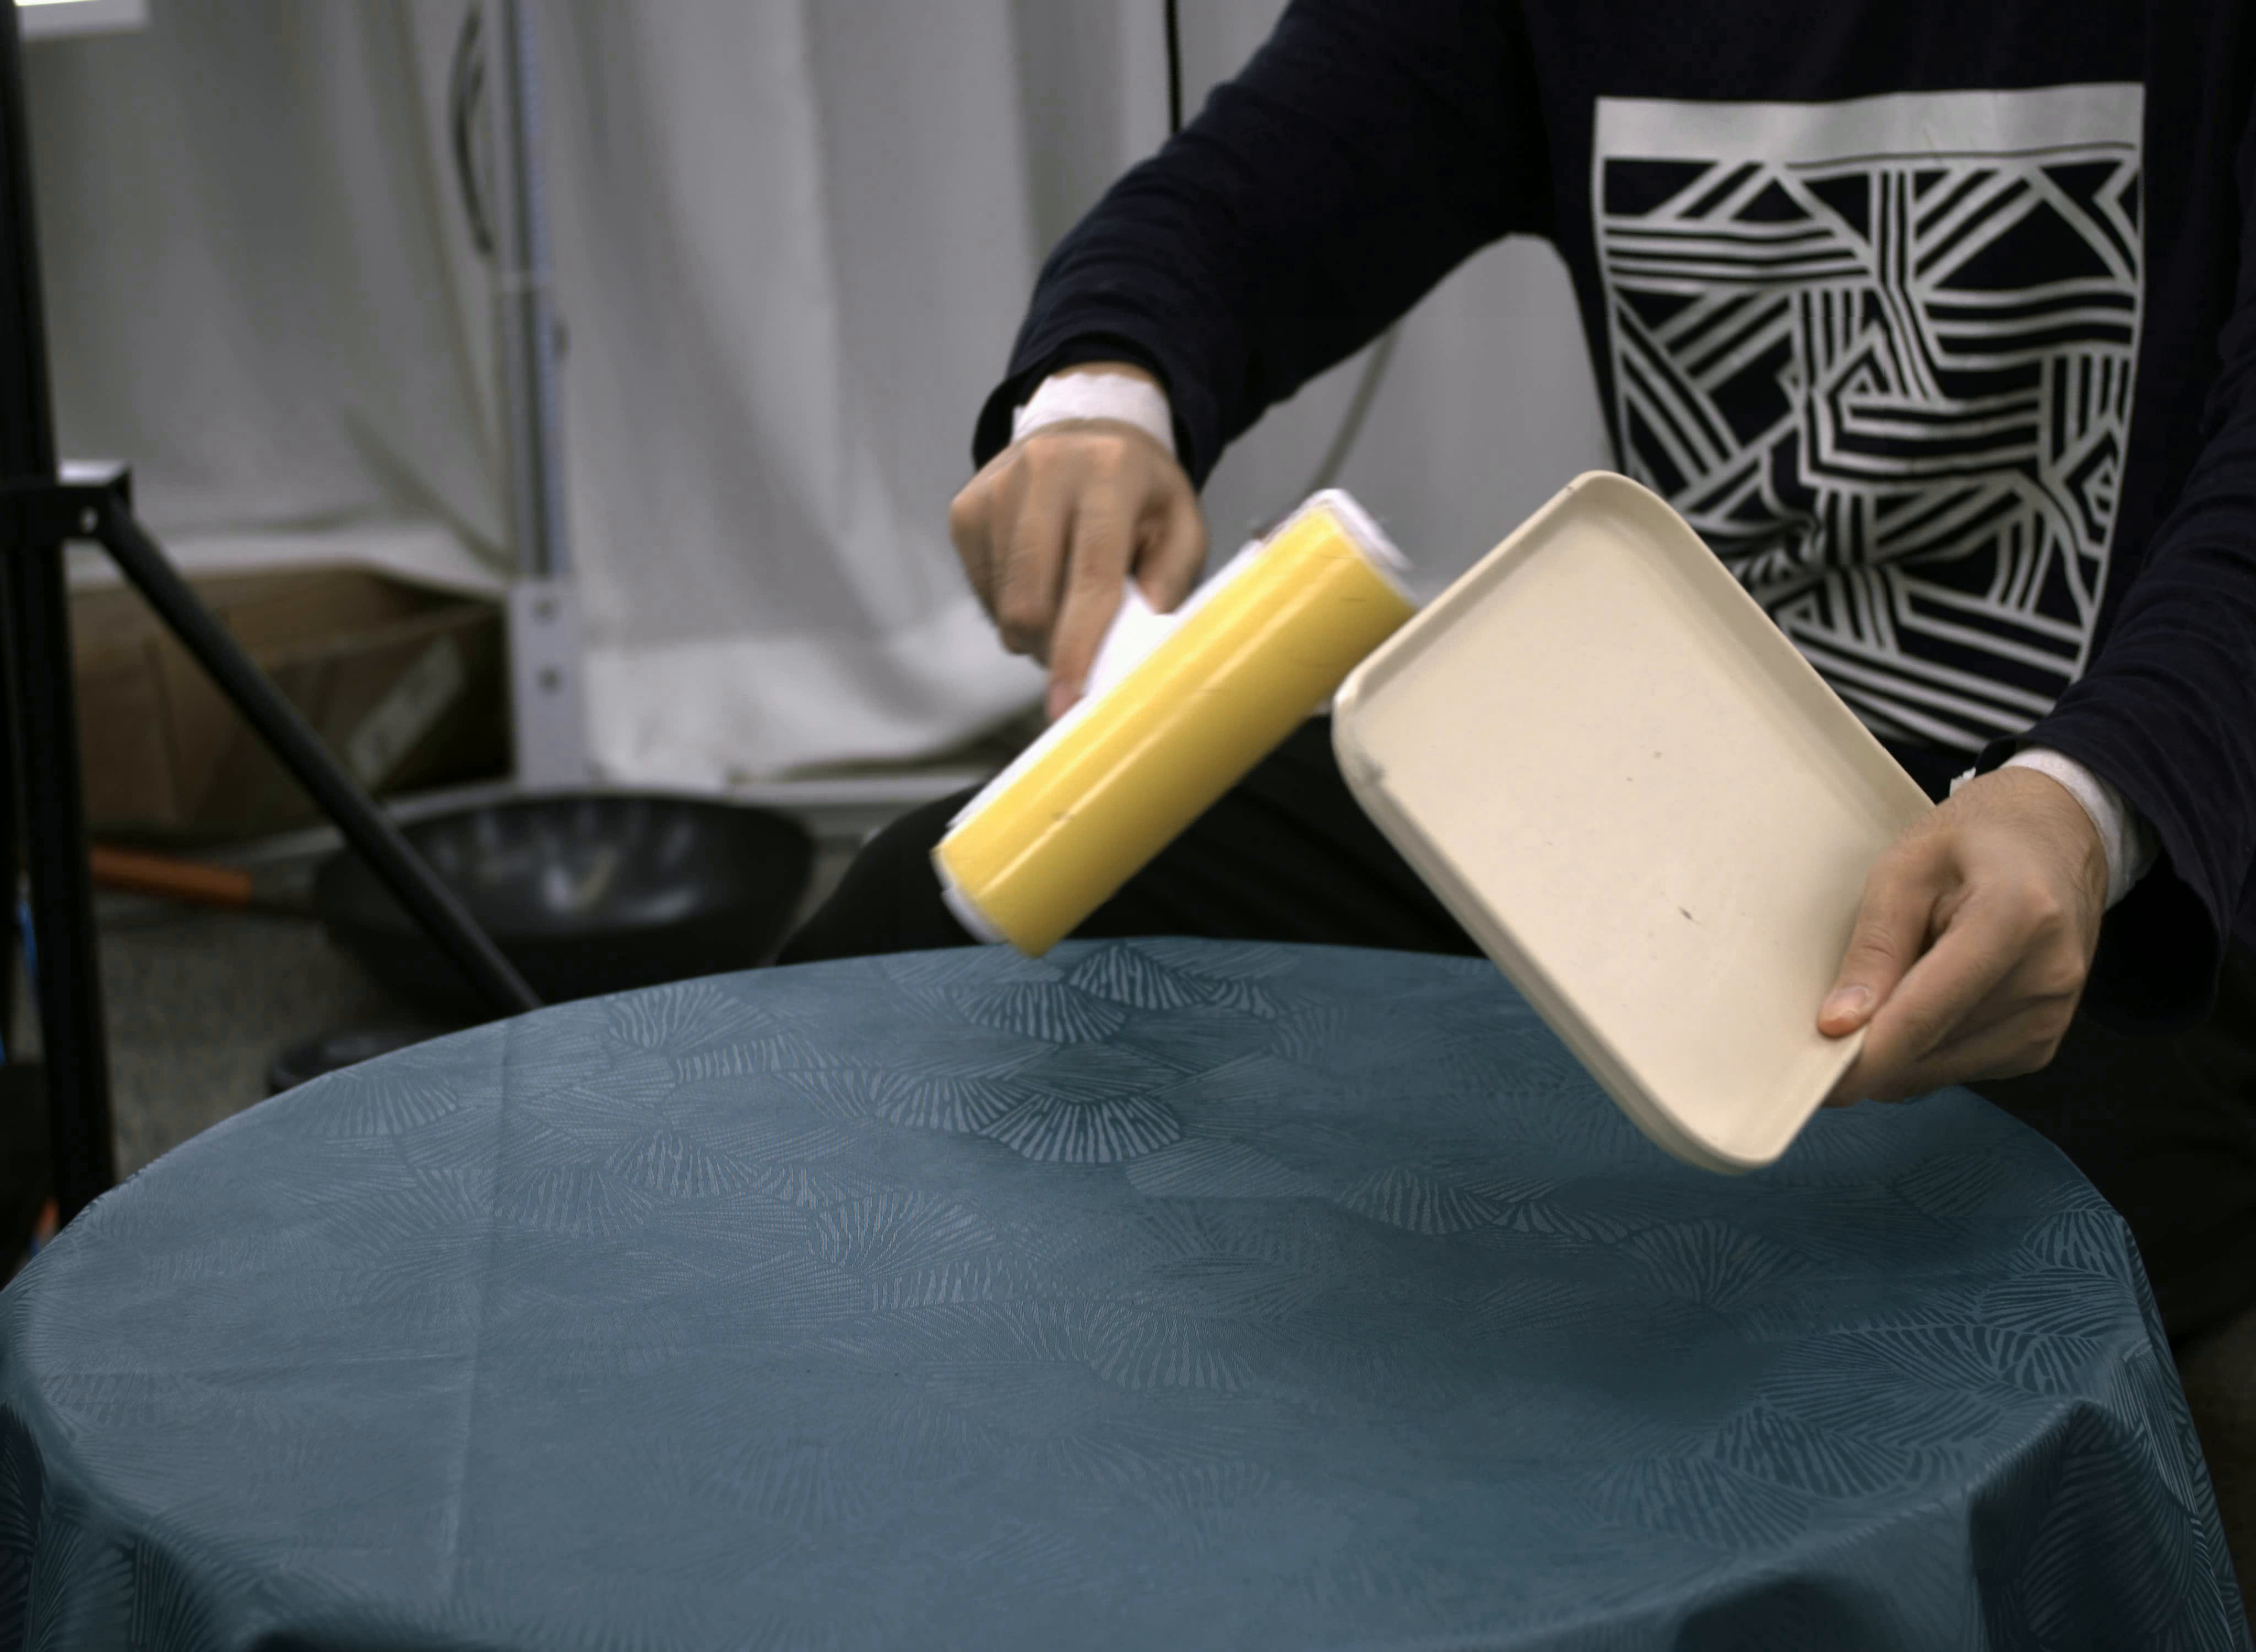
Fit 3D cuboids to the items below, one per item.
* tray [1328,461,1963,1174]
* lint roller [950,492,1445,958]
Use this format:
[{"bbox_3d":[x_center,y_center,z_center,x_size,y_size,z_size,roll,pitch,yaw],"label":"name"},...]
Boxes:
[{"bbox_3d":[0.144,-0.005,1.457,0.017,0.172,0.236,-42,-2,32],"label":"tray"},{"bbox_3d":[-0.005,-0.063,1.690,0.174,0.050,0.196,-42,39,4],"label":"lint roller"}]
